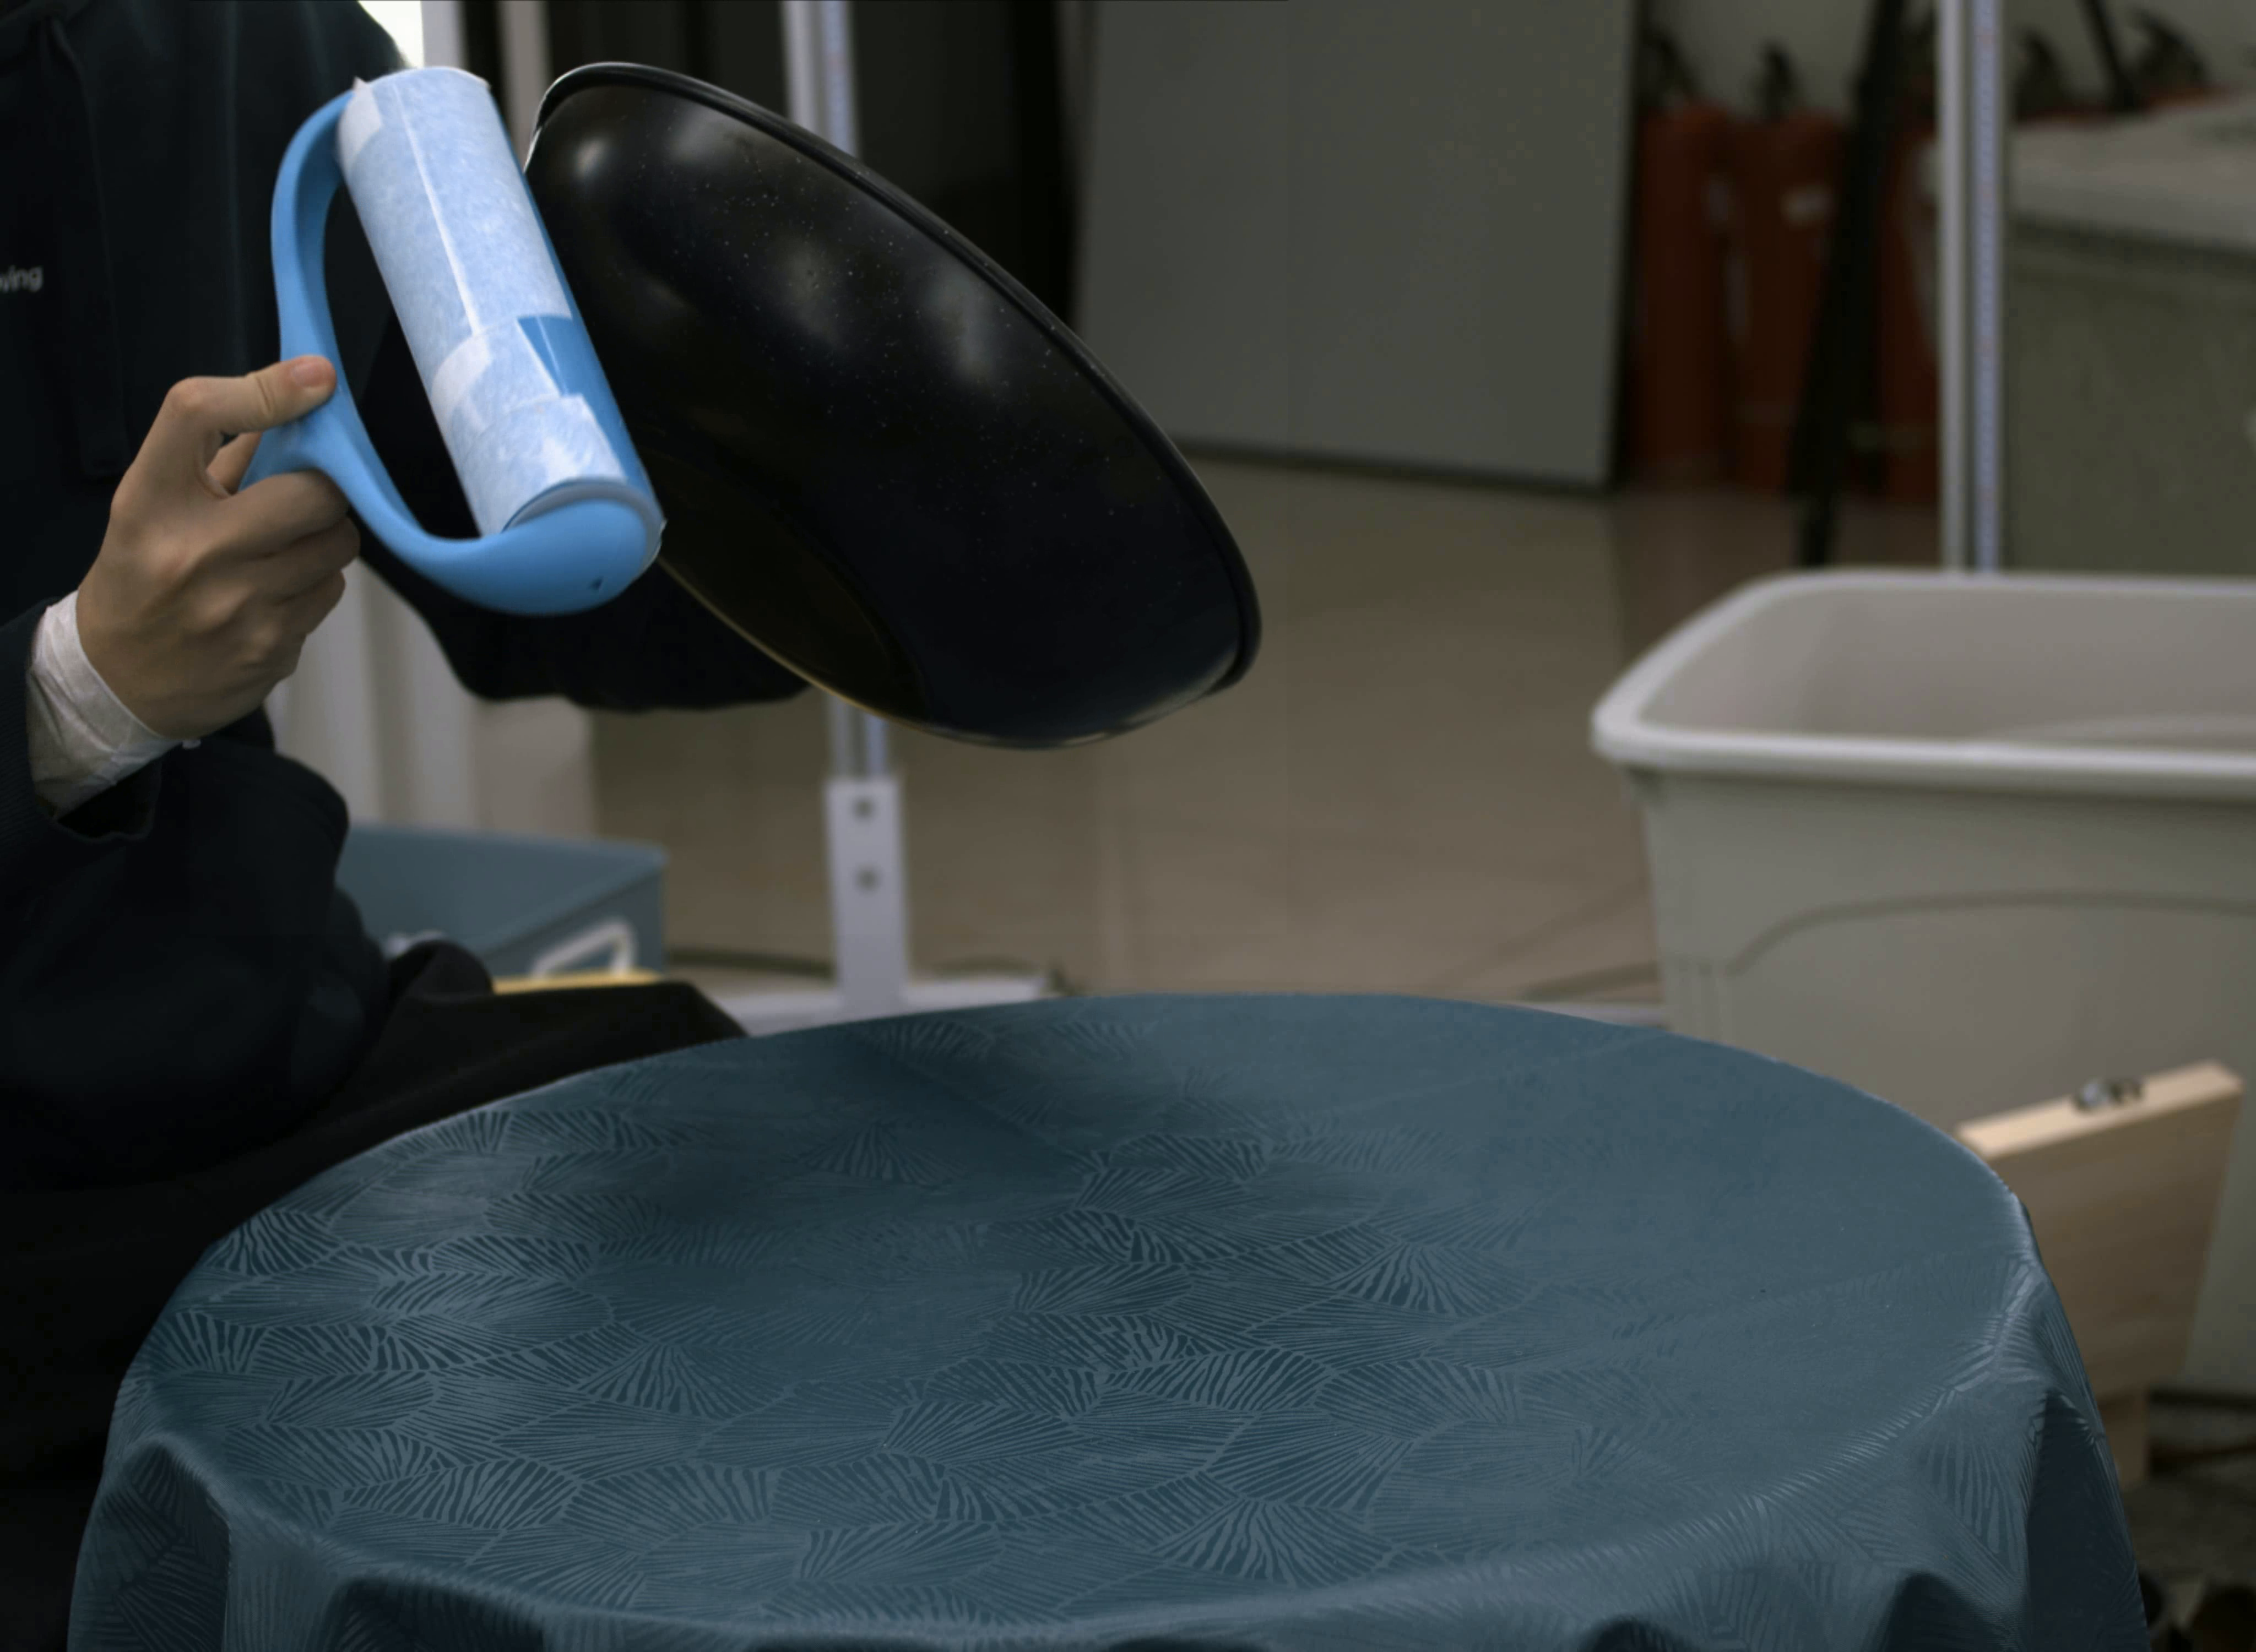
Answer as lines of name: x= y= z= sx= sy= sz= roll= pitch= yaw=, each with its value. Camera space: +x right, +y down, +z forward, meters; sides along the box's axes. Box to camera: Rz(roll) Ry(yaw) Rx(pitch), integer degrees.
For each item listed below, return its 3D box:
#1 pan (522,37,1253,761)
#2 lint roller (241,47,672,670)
pan: x=-0.098 y=-0.101 z=1.899 sx=0.311 sy=0.111 sz=0.477 roll=38 pitch=-16 yaw=11
lint roller: x=-0.233 y=-0.119 z=1.692 sx=0.066 sy=0.181 sz=0.232 roll=24 pitch=28 yaw=-44
